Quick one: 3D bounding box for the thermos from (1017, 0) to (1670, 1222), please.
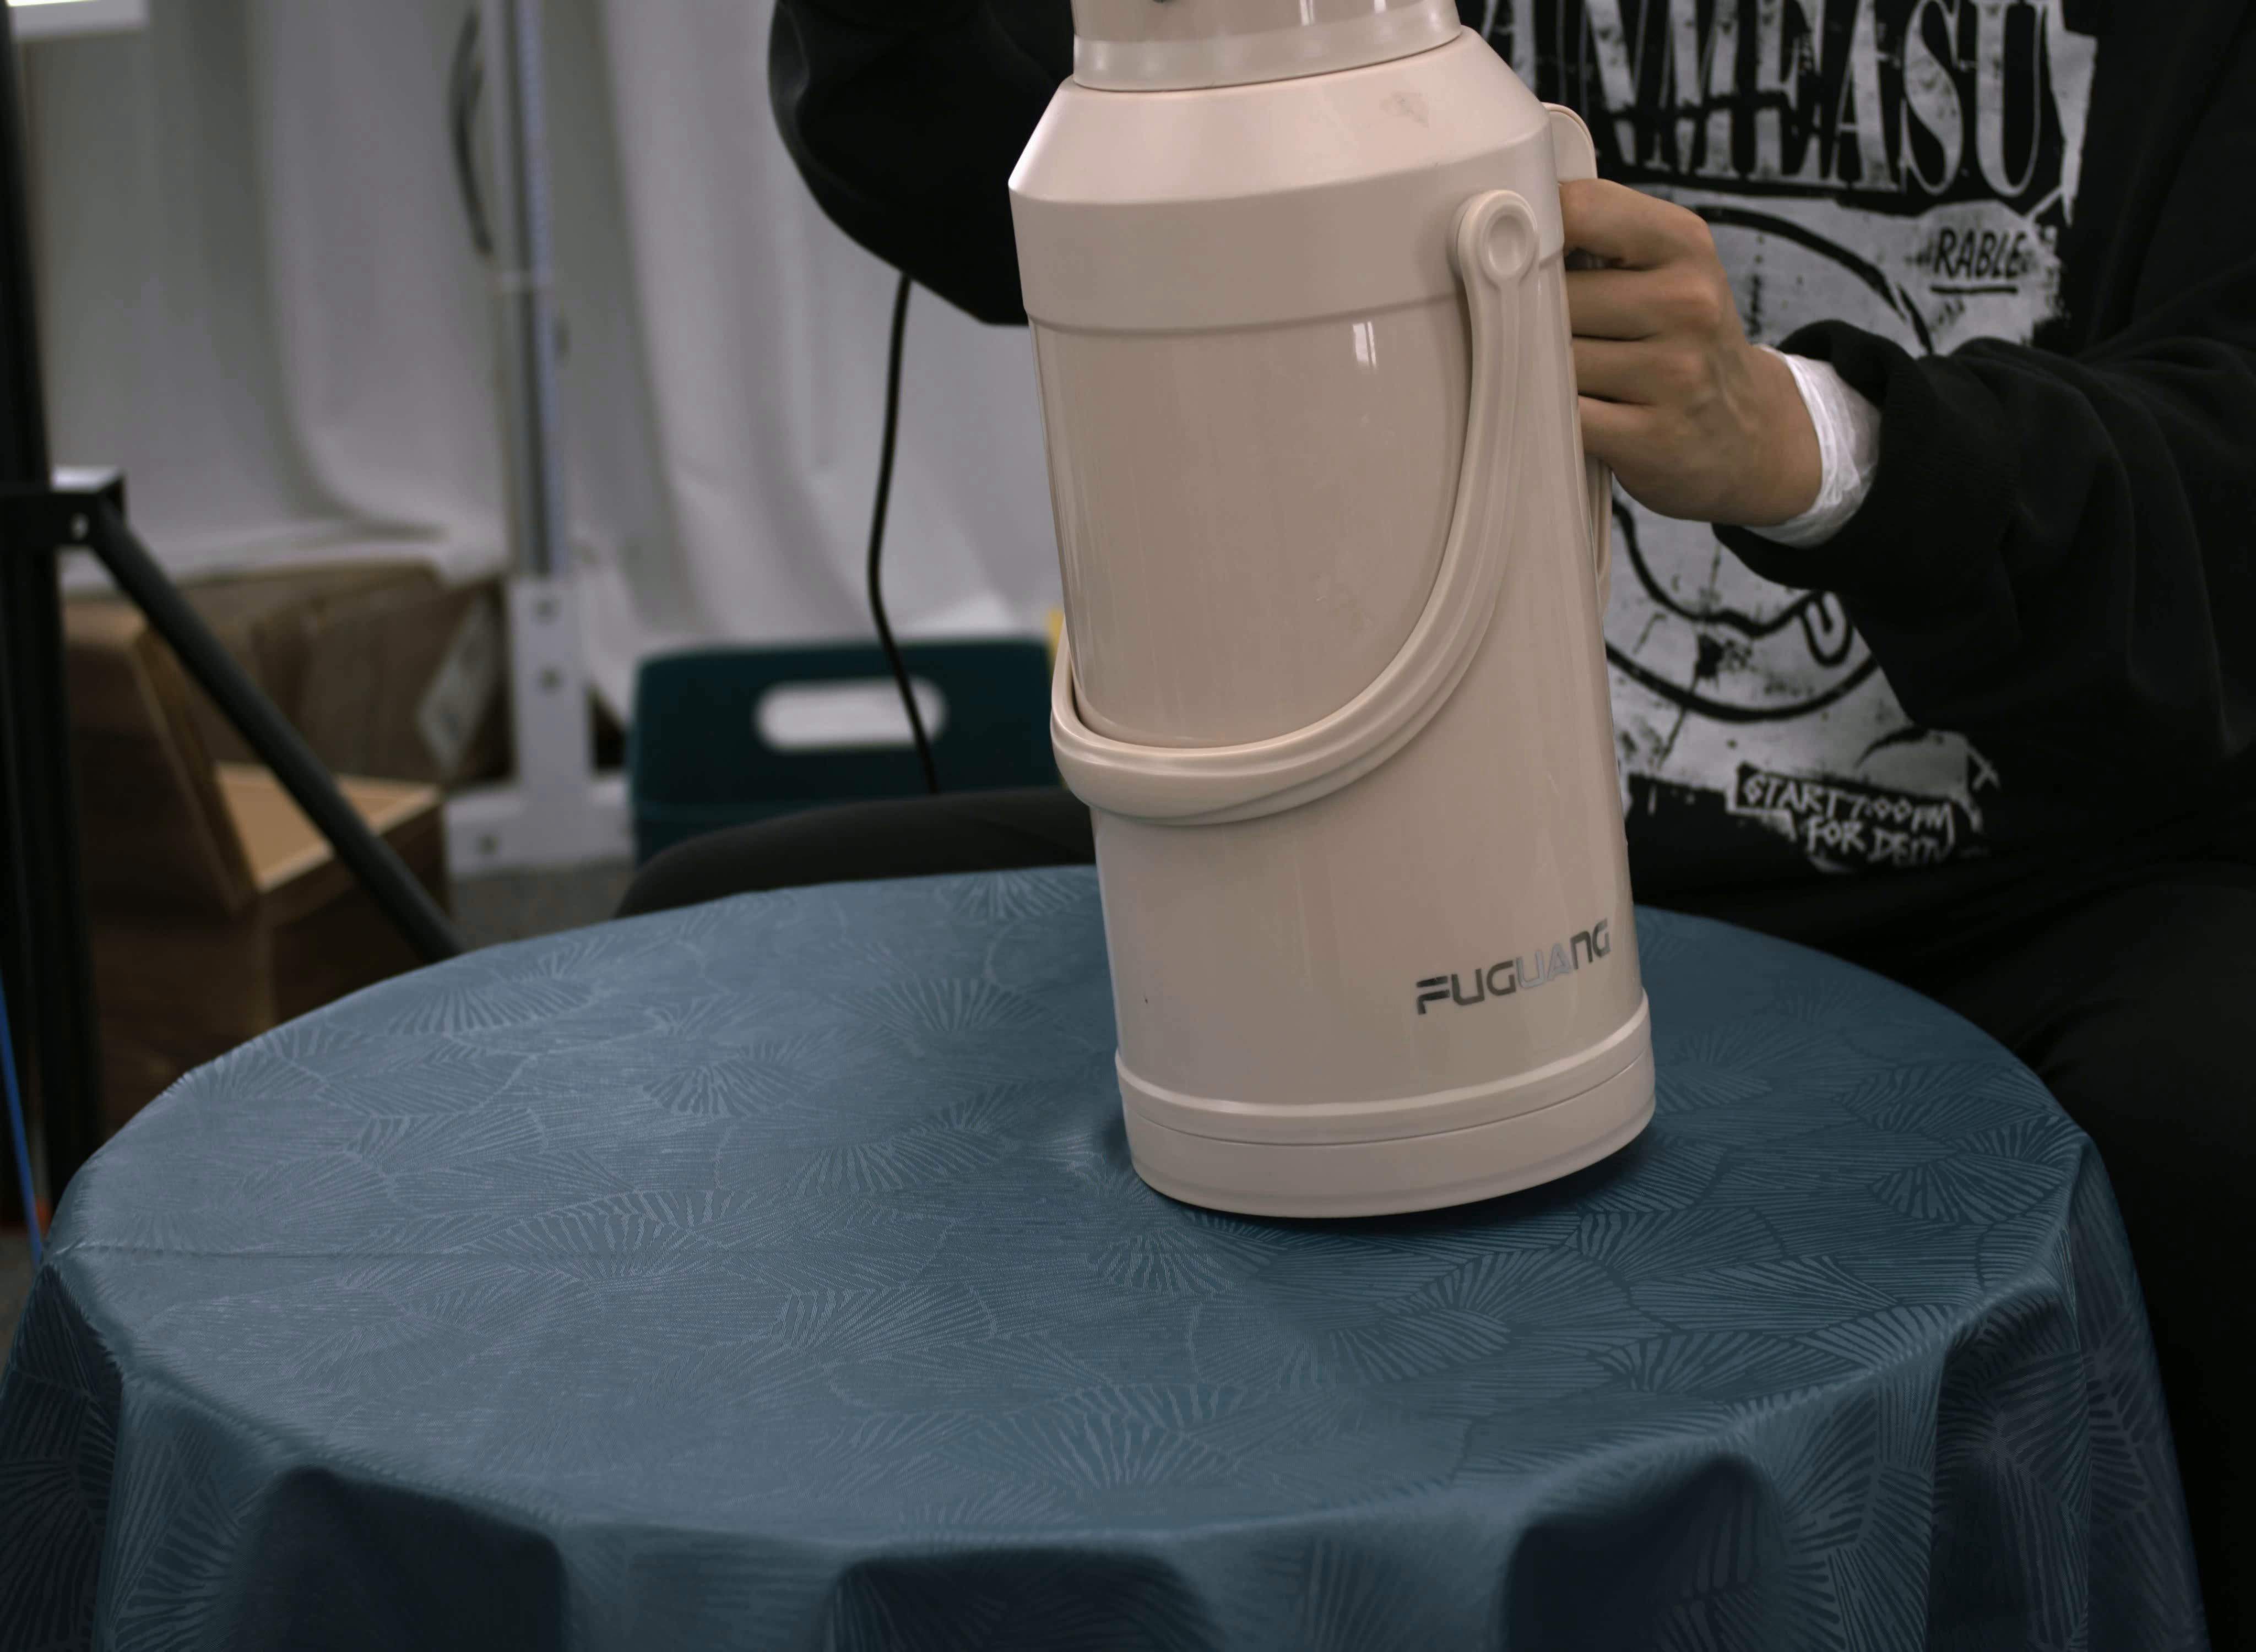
[{"bbox_3d":[0.069,-0.103,1.540,0.202,0.406,0.179,-19,17,-39],"label":"thermos"}]
